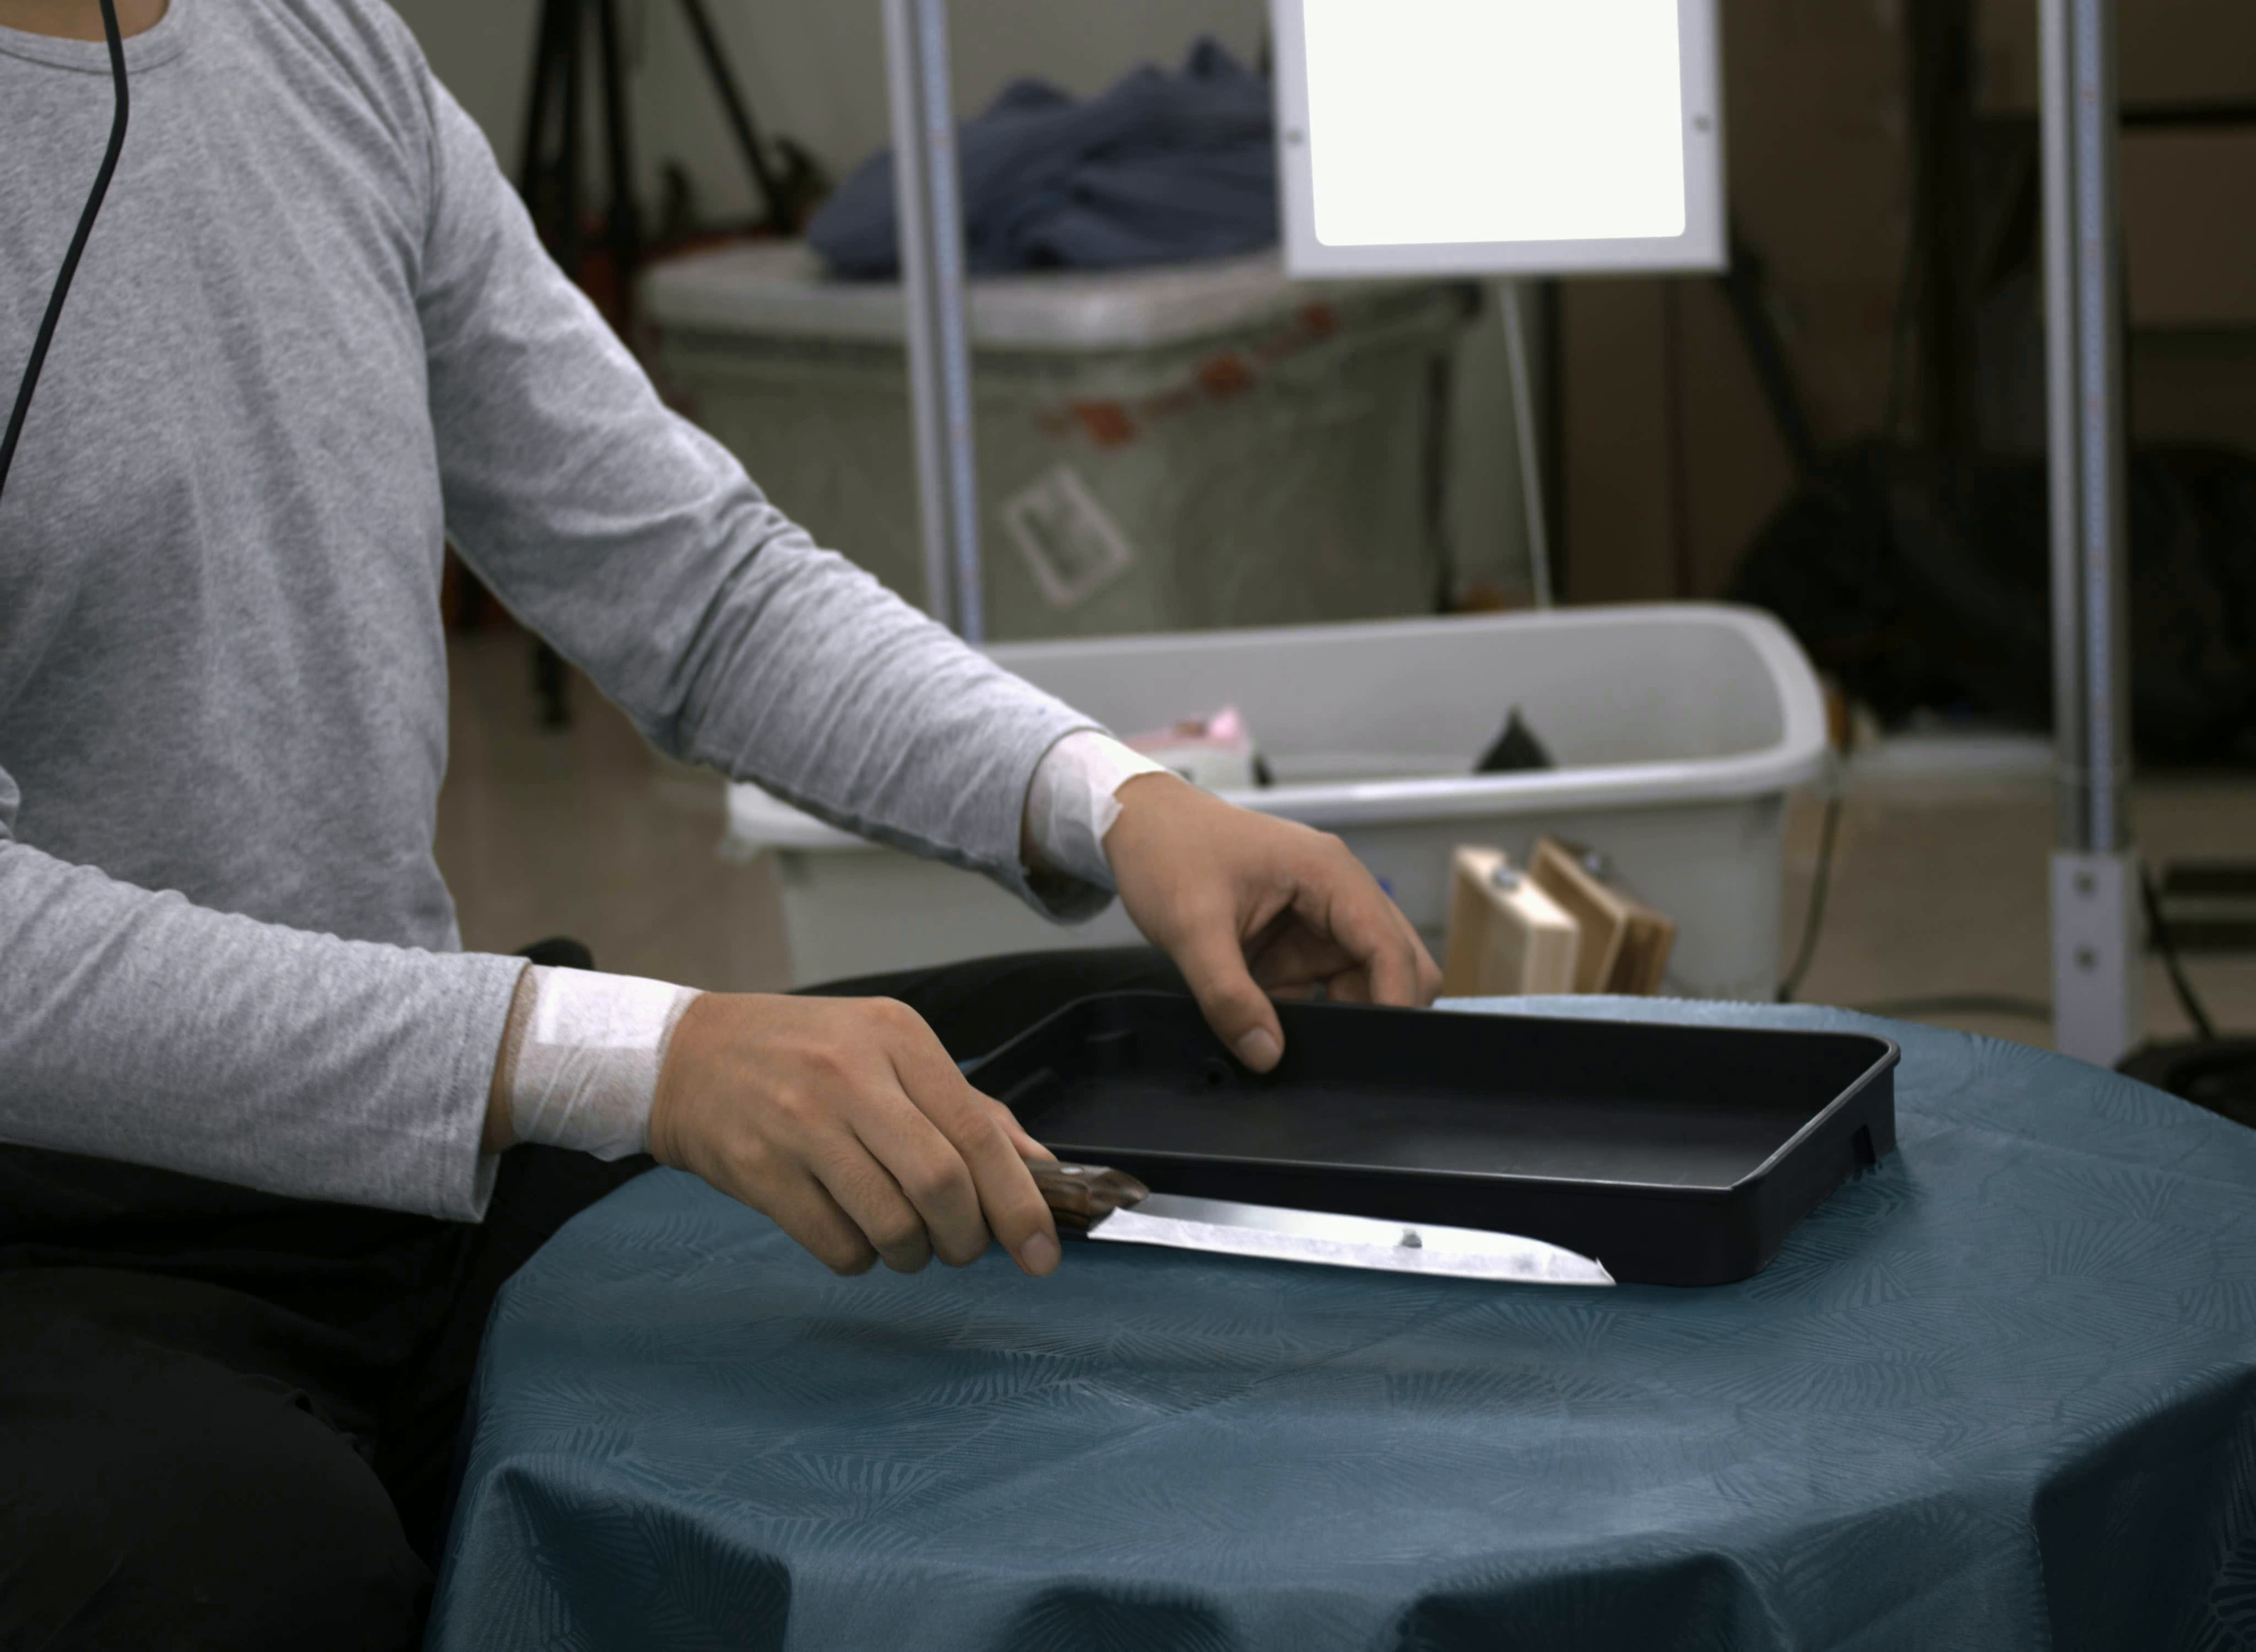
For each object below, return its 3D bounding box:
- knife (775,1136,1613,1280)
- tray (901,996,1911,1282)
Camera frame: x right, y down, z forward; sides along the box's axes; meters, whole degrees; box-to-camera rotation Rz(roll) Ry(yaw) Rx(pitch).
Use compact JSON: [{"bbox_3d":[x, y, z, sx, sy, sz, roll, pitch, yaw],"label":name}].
[{"bbox_3d":[0.016,0.122,1.722,0.294,0.020,0.049,5,19,25],"label":"knife"},{"bbox_3d":[0.097,0.104,1.884,0.323,0.037,0.180,1,15,26],"label":"tray"}]
